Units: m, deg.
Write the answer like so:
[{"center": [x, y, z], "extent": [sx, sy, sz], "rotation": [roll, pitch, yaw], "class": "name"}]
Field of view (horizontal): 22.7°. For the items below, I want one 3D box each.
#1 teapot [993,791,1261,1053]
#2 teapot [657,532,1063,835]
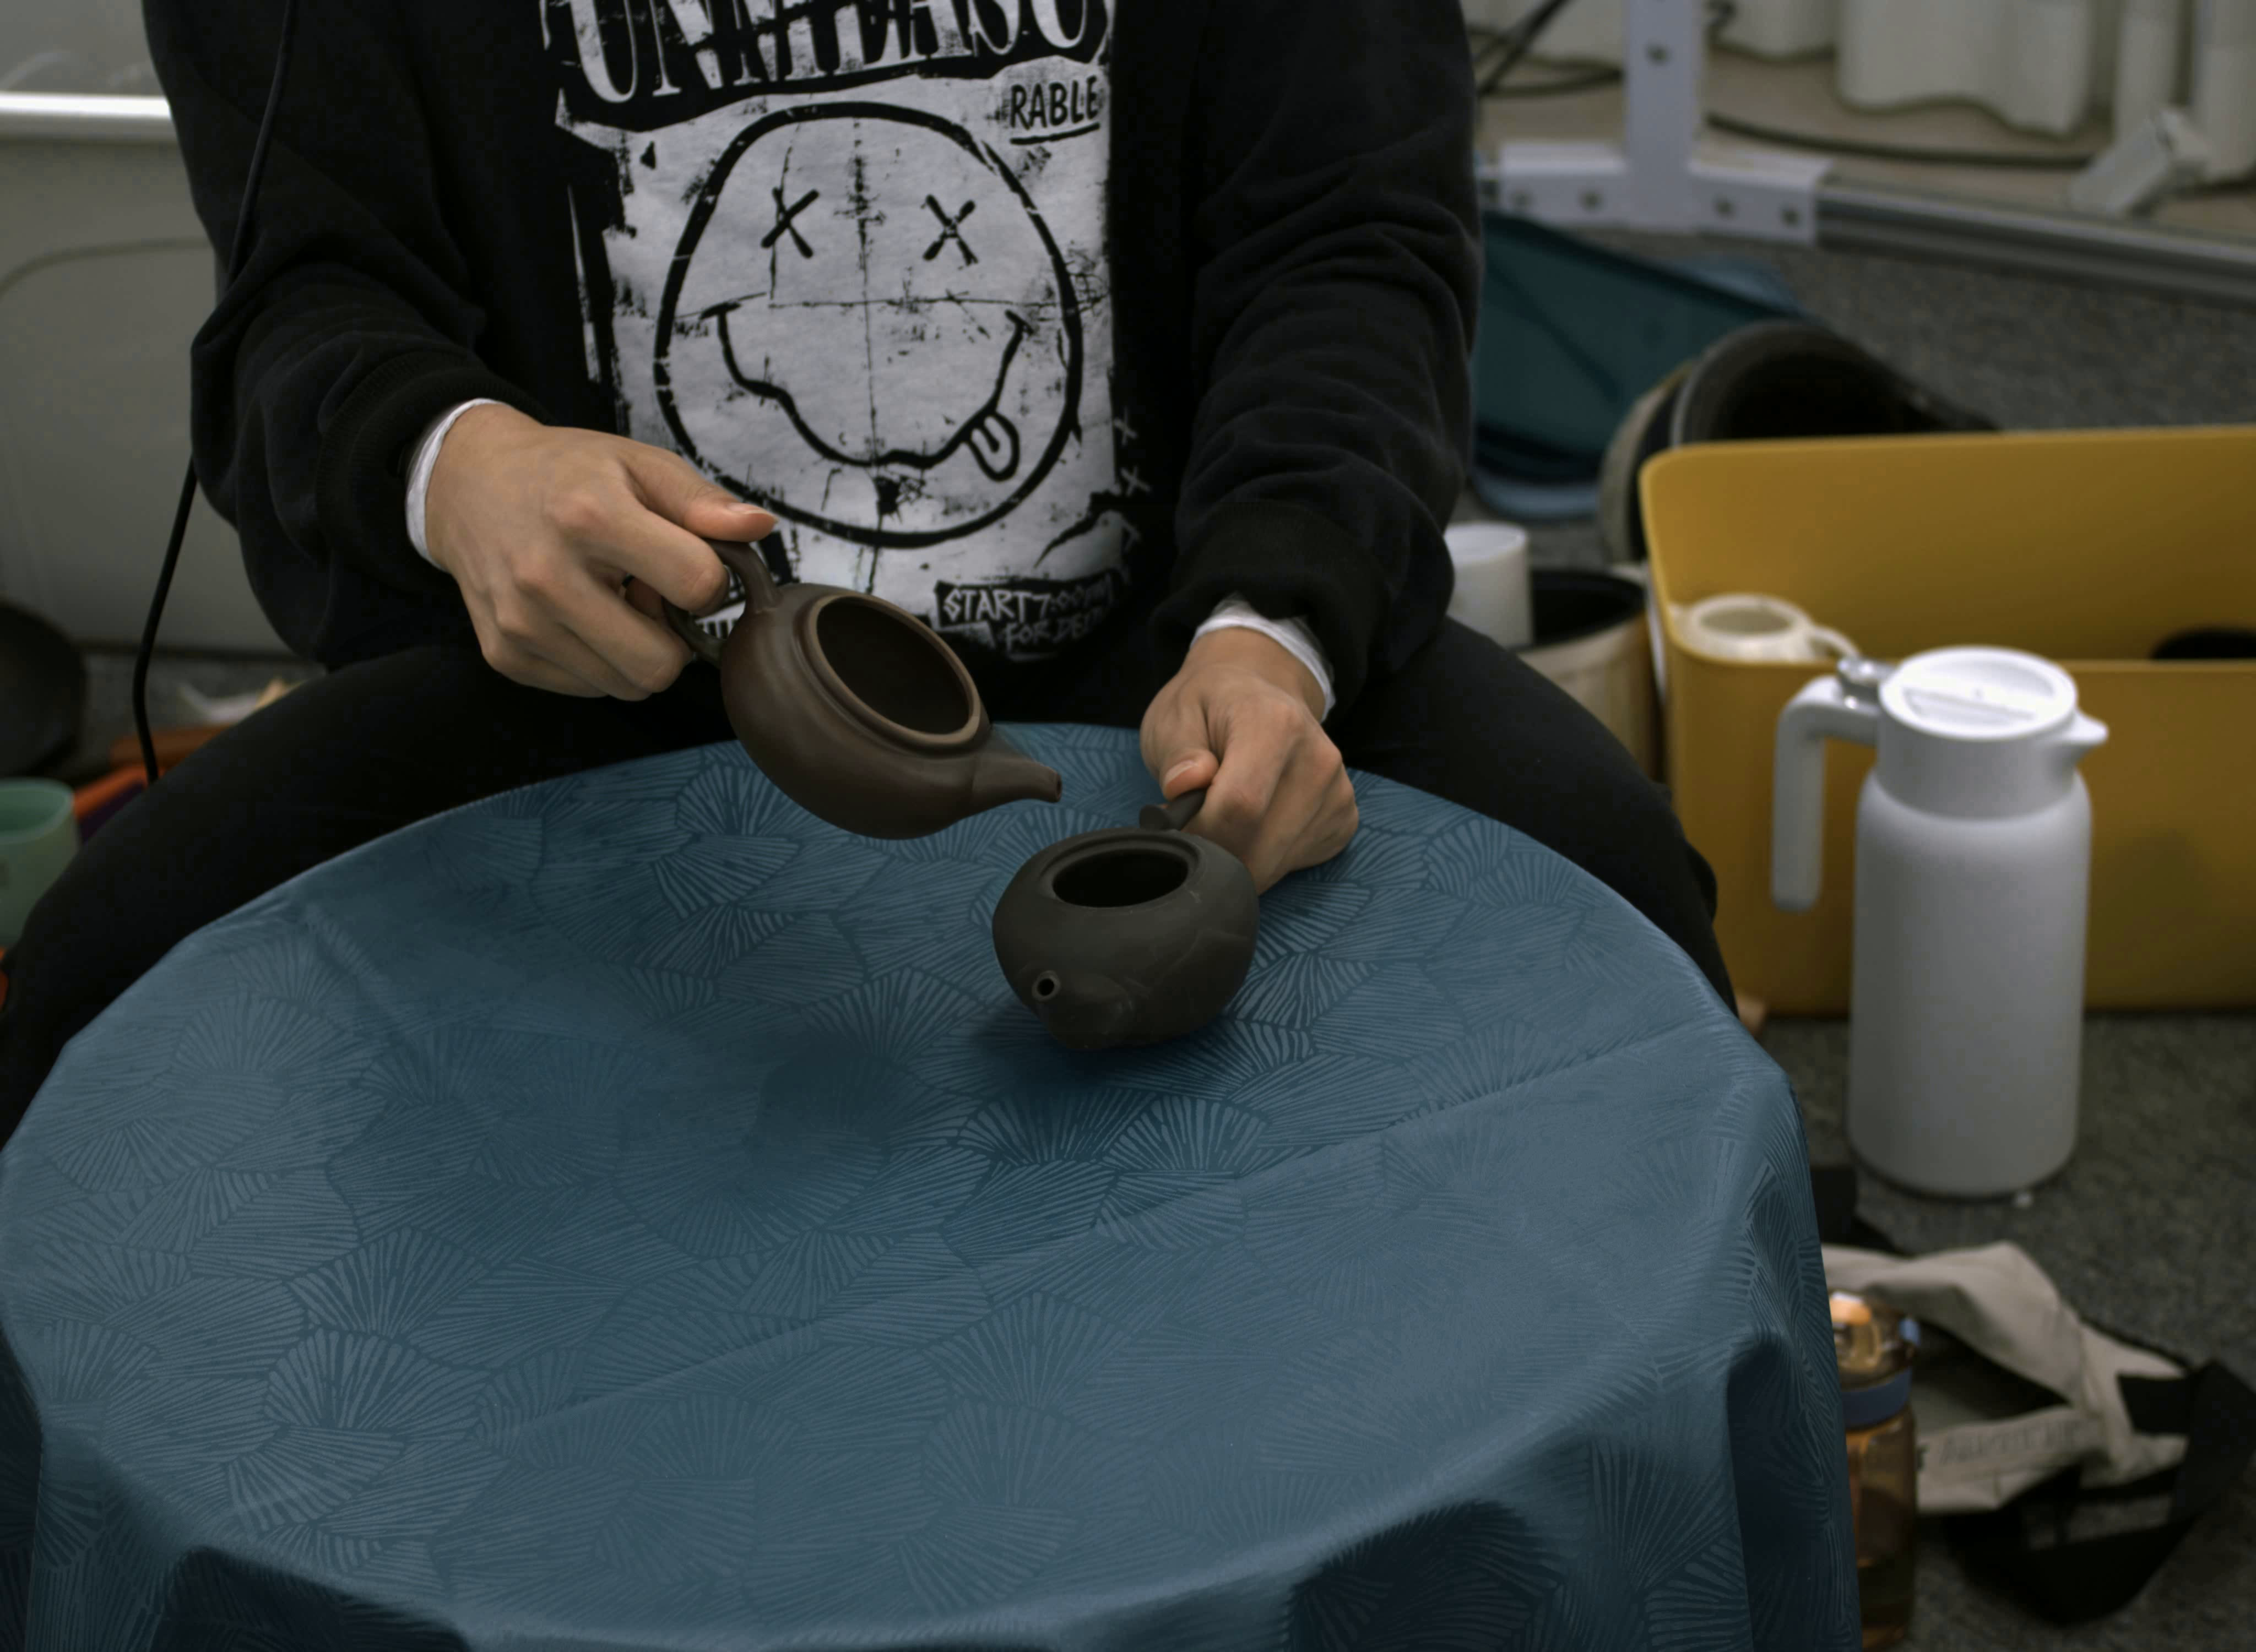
[{"center": [0.001, 0.037, 1.951], "extent": [0.092, 0.063, 0.157], "rotation": [8, 31, 21], "class": "teapot"}, {"center": [-0.095, -0.044, 1.913], "extent": [0.153, 0.053, 0.104], "rotation": [36, 27, -10], "class": "teapot"}]
